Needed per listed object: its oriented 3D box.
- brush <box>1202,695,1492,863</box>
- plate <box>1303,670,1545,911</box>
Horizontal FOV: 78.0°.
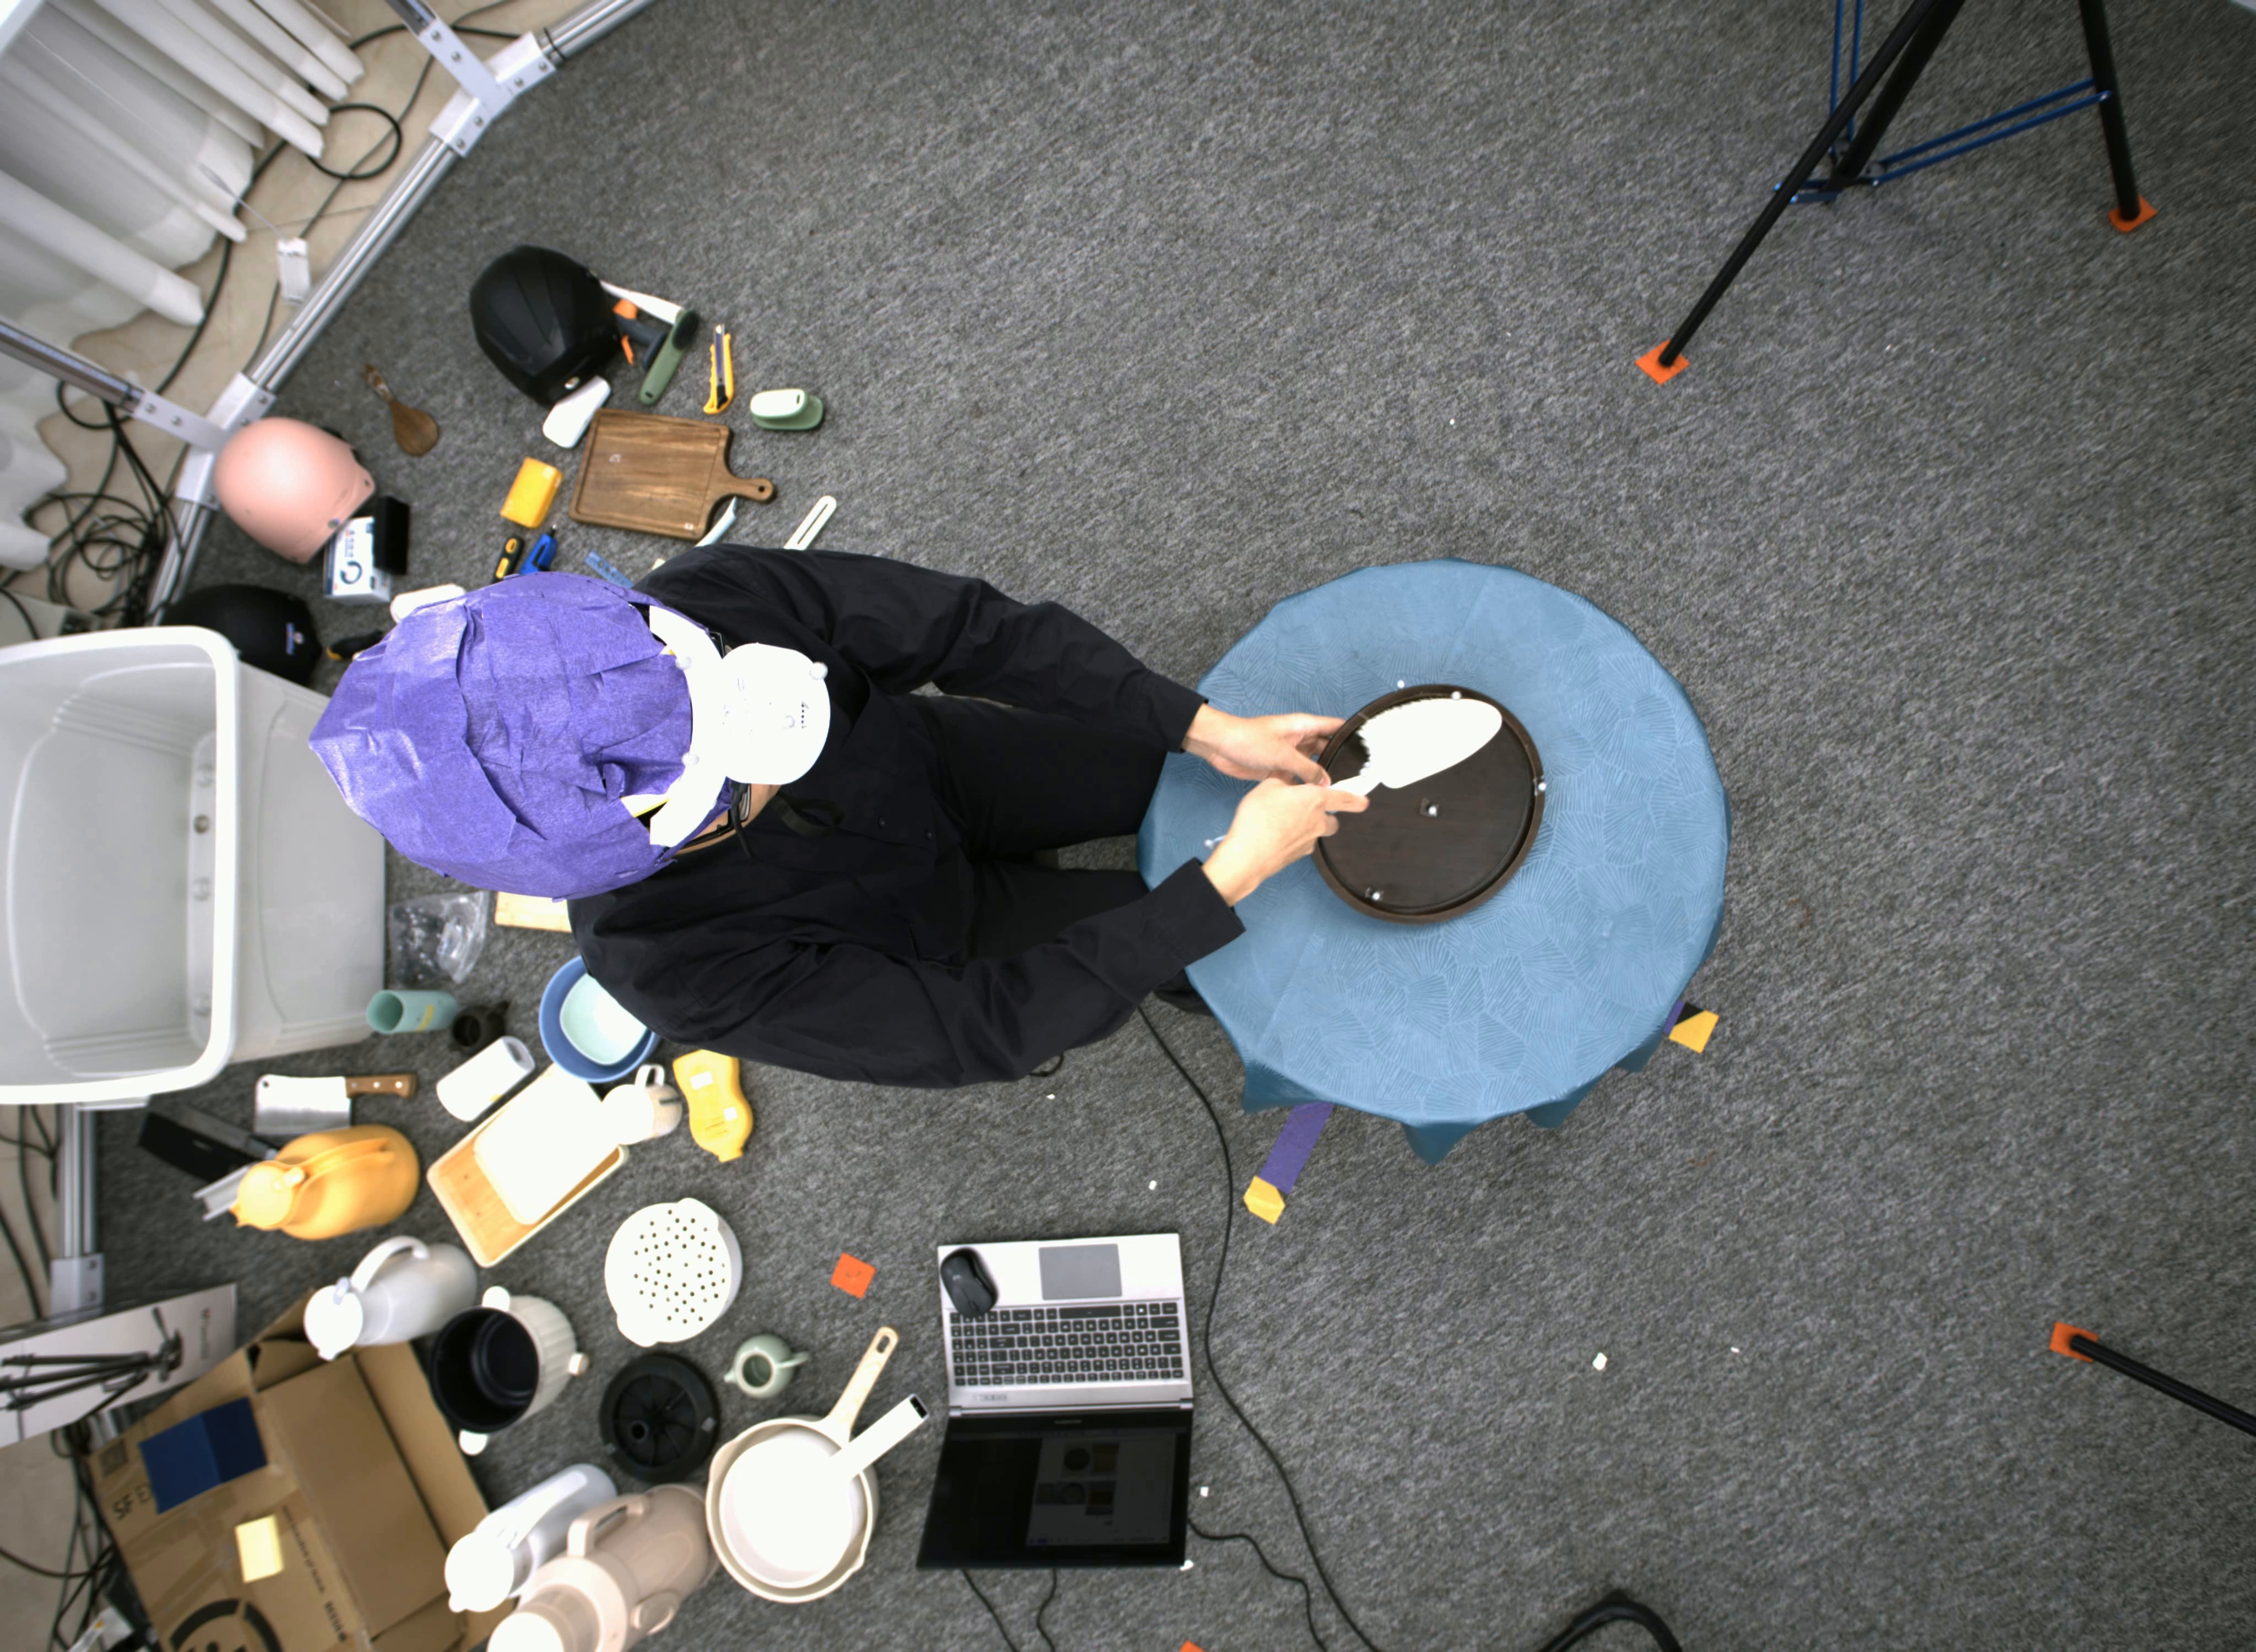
[{"bbox_3d":[0.199,-0.052,1.319,0.323,0.086,0.082,-25,76,-13],"label":"brush"},{"bbox_3d":[0.297,-0.036,1.385,0.254,0.028,0.259,-2,112,-7],"label":"plate"}]
